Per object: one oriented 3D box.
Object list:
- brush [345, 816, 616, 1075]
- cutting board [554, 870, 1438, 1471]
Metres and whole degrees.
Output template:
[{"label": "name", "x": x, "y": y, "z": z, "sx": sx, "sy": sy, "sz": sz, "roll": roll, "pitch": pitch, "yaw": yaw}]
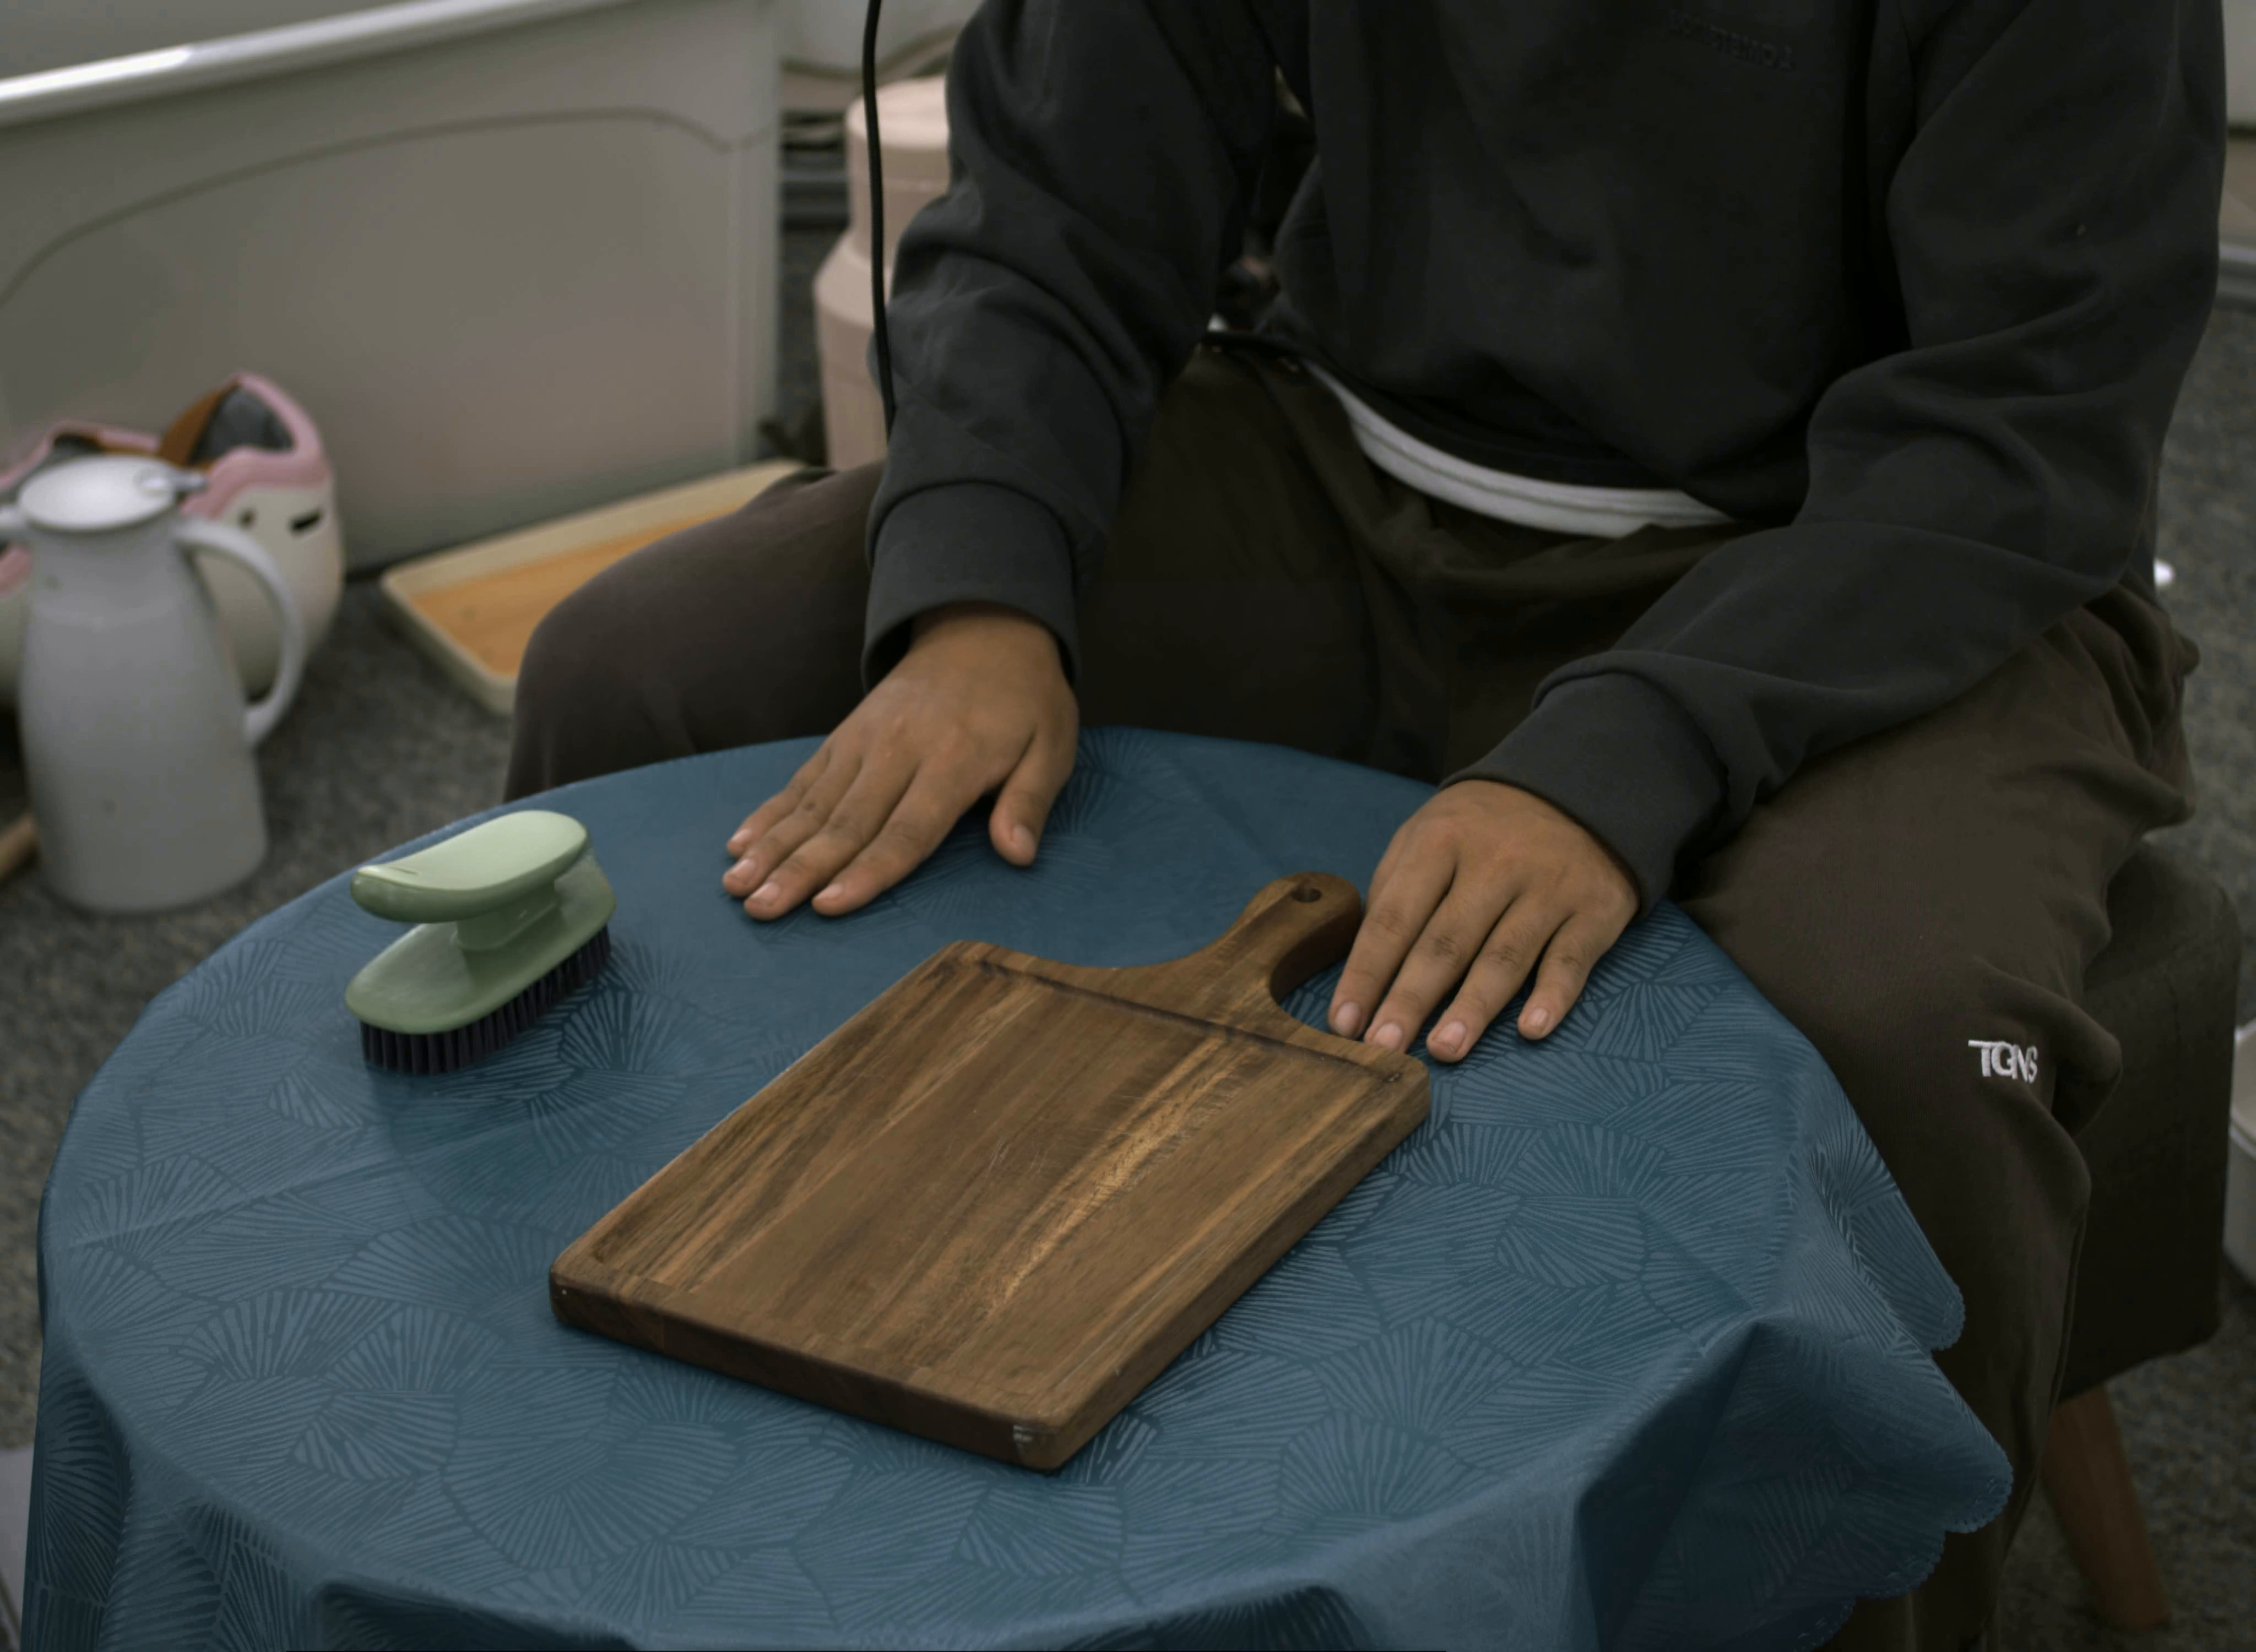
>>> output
[{"label": "brush", "x": -0.230, "y": 0.041, "z": 1.985, "sx": 0.059, "sy": 0.075, "sz": 0.124, "roll": 12, "pitch": 17, "yaw": 27}, {"label": "cutting board", "x": -0.014, "y": 0.099, "z": 1.888, "sx": 0.200, "sy": 0.023, "sz": 0.358, "roll": 14, "pitch": 31, "yaw": 28}]
